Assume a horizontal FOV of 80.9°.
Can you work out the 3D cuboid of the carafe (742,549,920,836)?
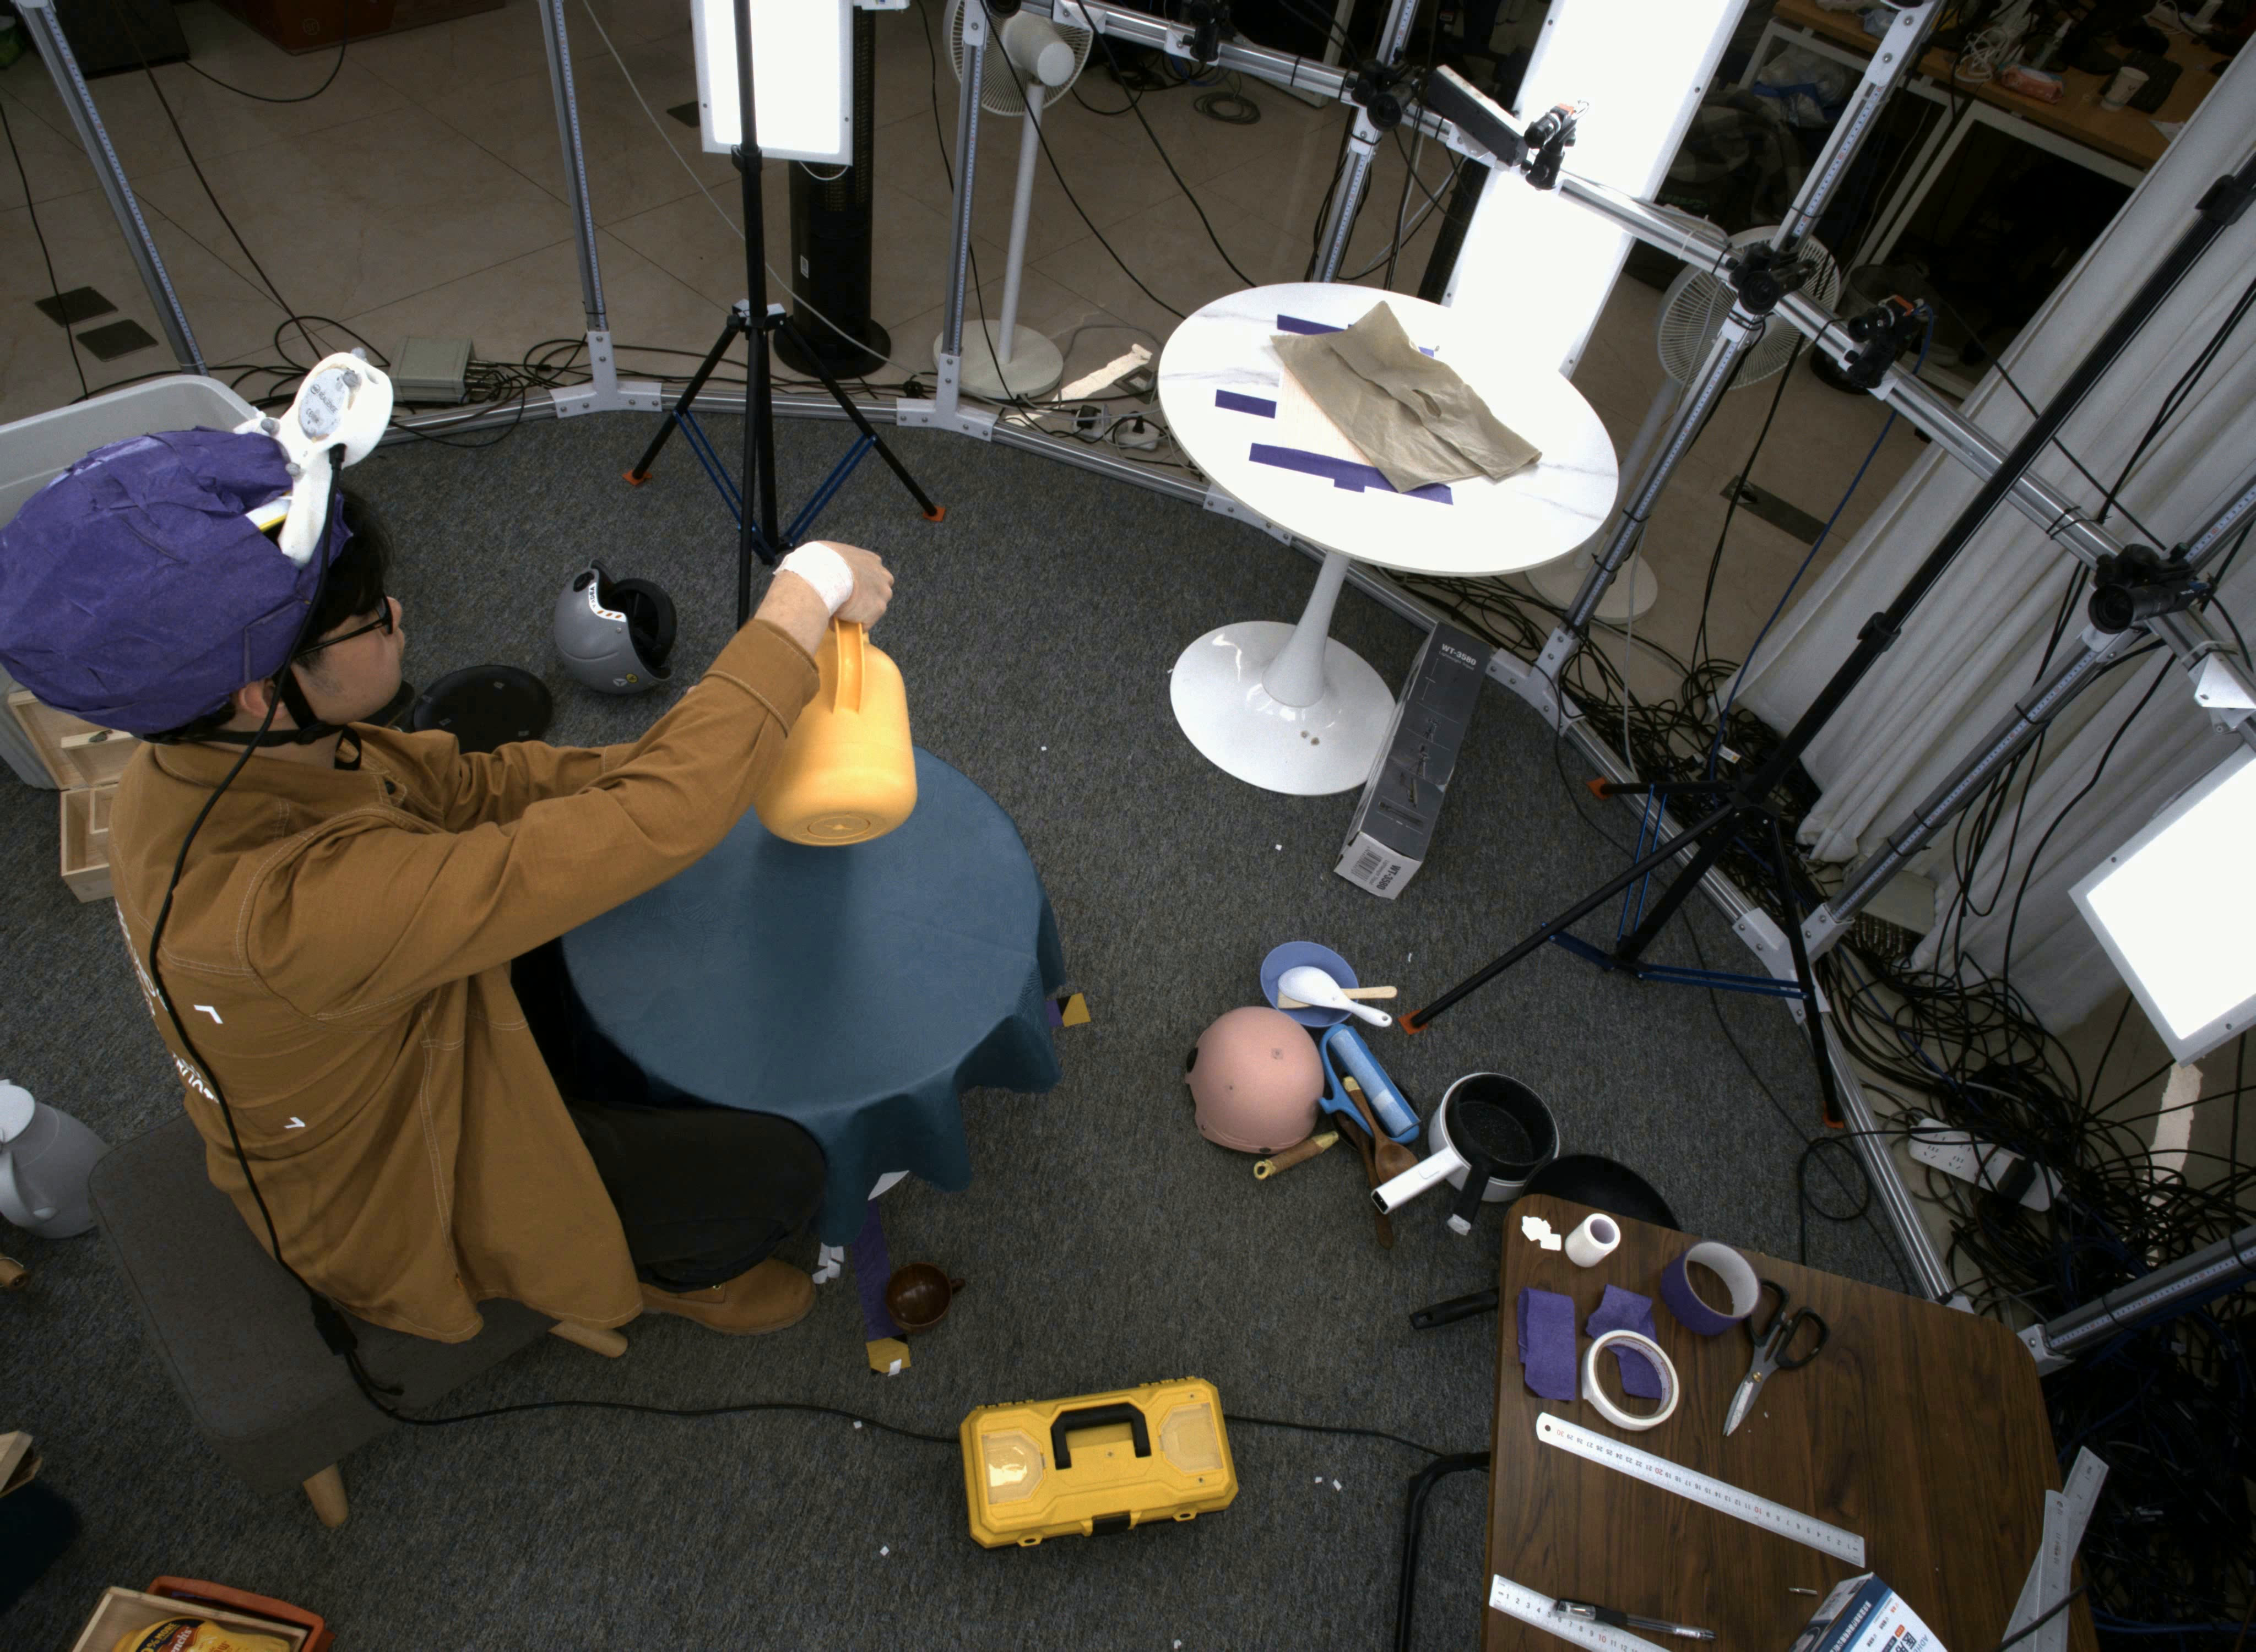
[{"bbox_3d":[-0.303,-0.140,1.293,0.164,0.202,0.258,-7,72,-23],"label":"carafe"}]

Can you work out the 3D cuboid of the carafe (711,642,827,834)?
[{"bbox_3d":[-0.405,-0.104,1.550,0.173,0.272,0.122,-1,63,-14],"label":"carafe"}]
